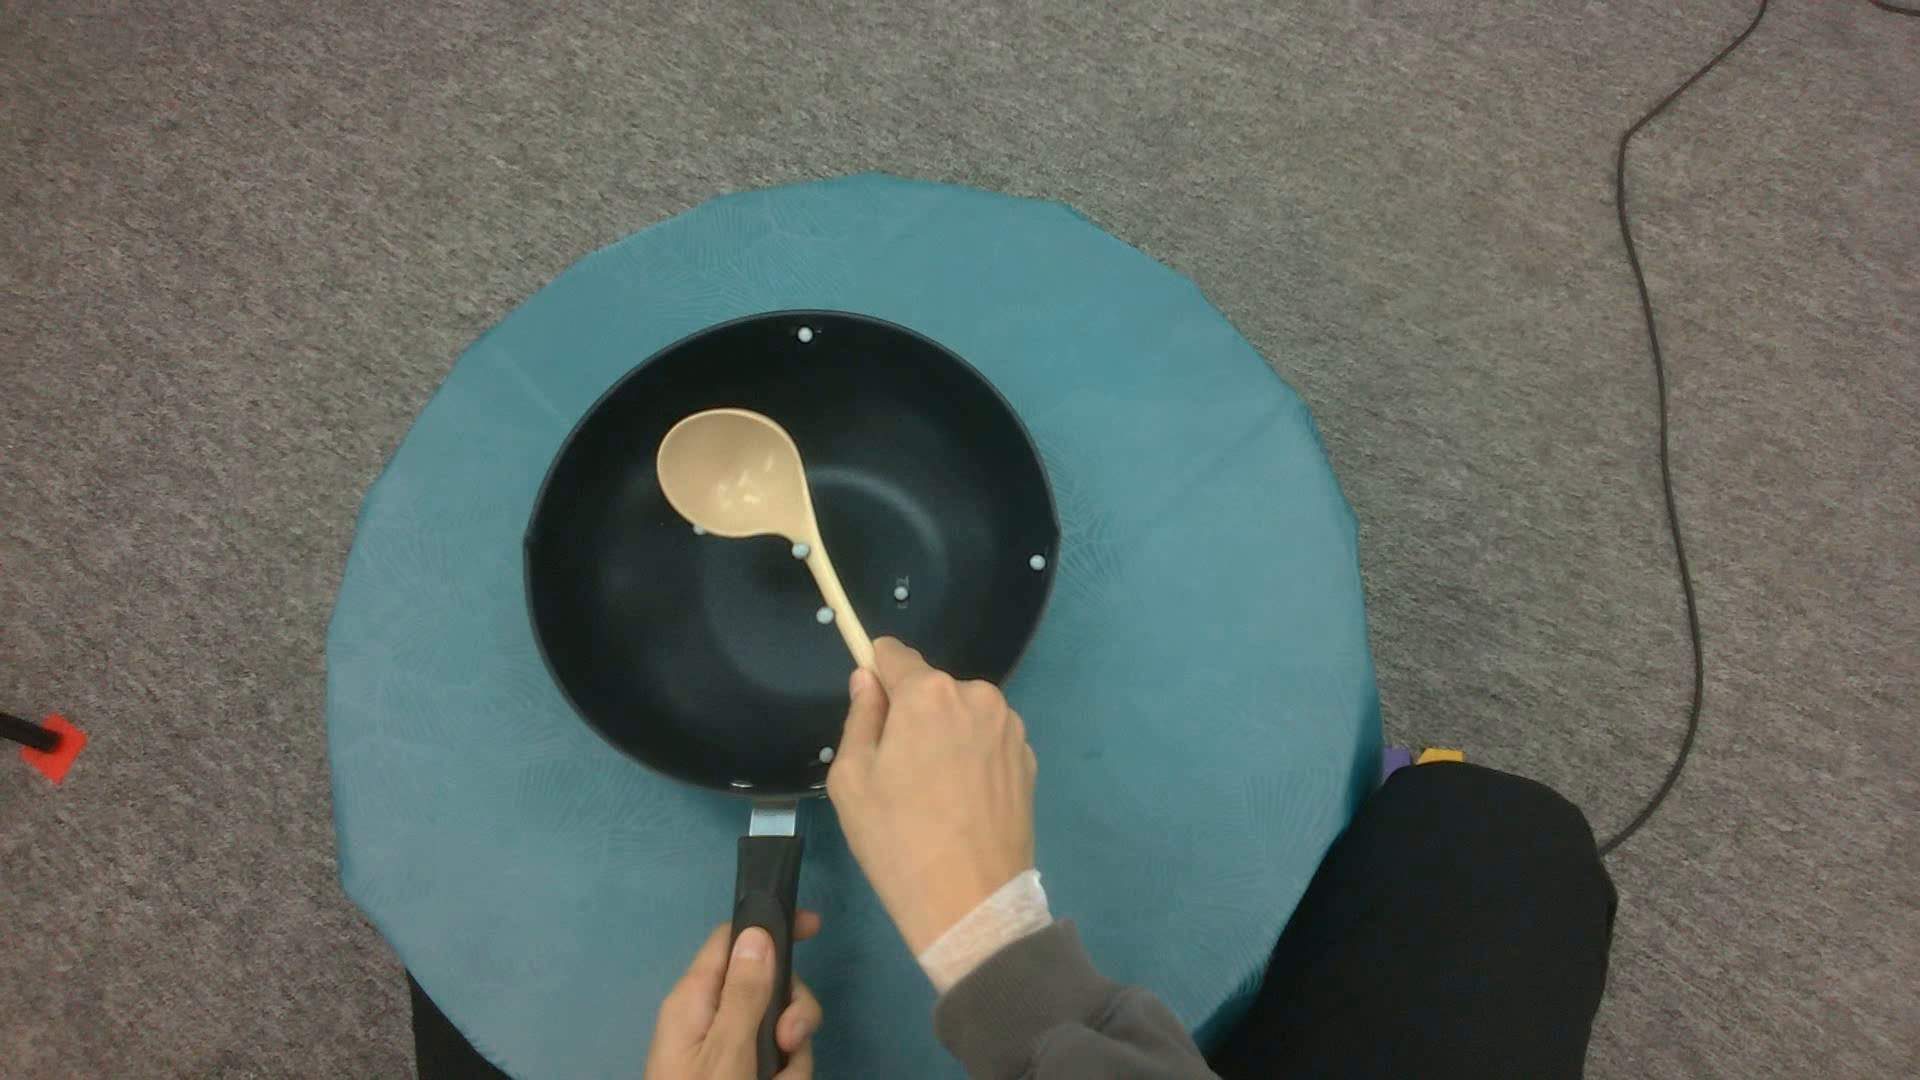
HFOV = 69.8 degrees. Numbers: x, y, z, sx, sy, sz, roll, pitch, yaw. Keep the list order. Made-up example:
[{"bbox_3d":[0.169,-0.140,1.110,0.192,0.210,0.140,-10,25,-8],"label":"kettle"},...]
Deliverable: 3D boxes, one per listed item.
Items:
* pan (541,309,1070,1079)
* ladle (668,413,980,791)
[{"bbox_3d":[-0.085,0.097,0.740,0.288,0.086,0.465,0,69,4],"label":"pan"},{"bbox_3d":[-0.074,0.025,0.667,0.072,0.073,0.255,-53,44,17],"label":"ladle"}]
